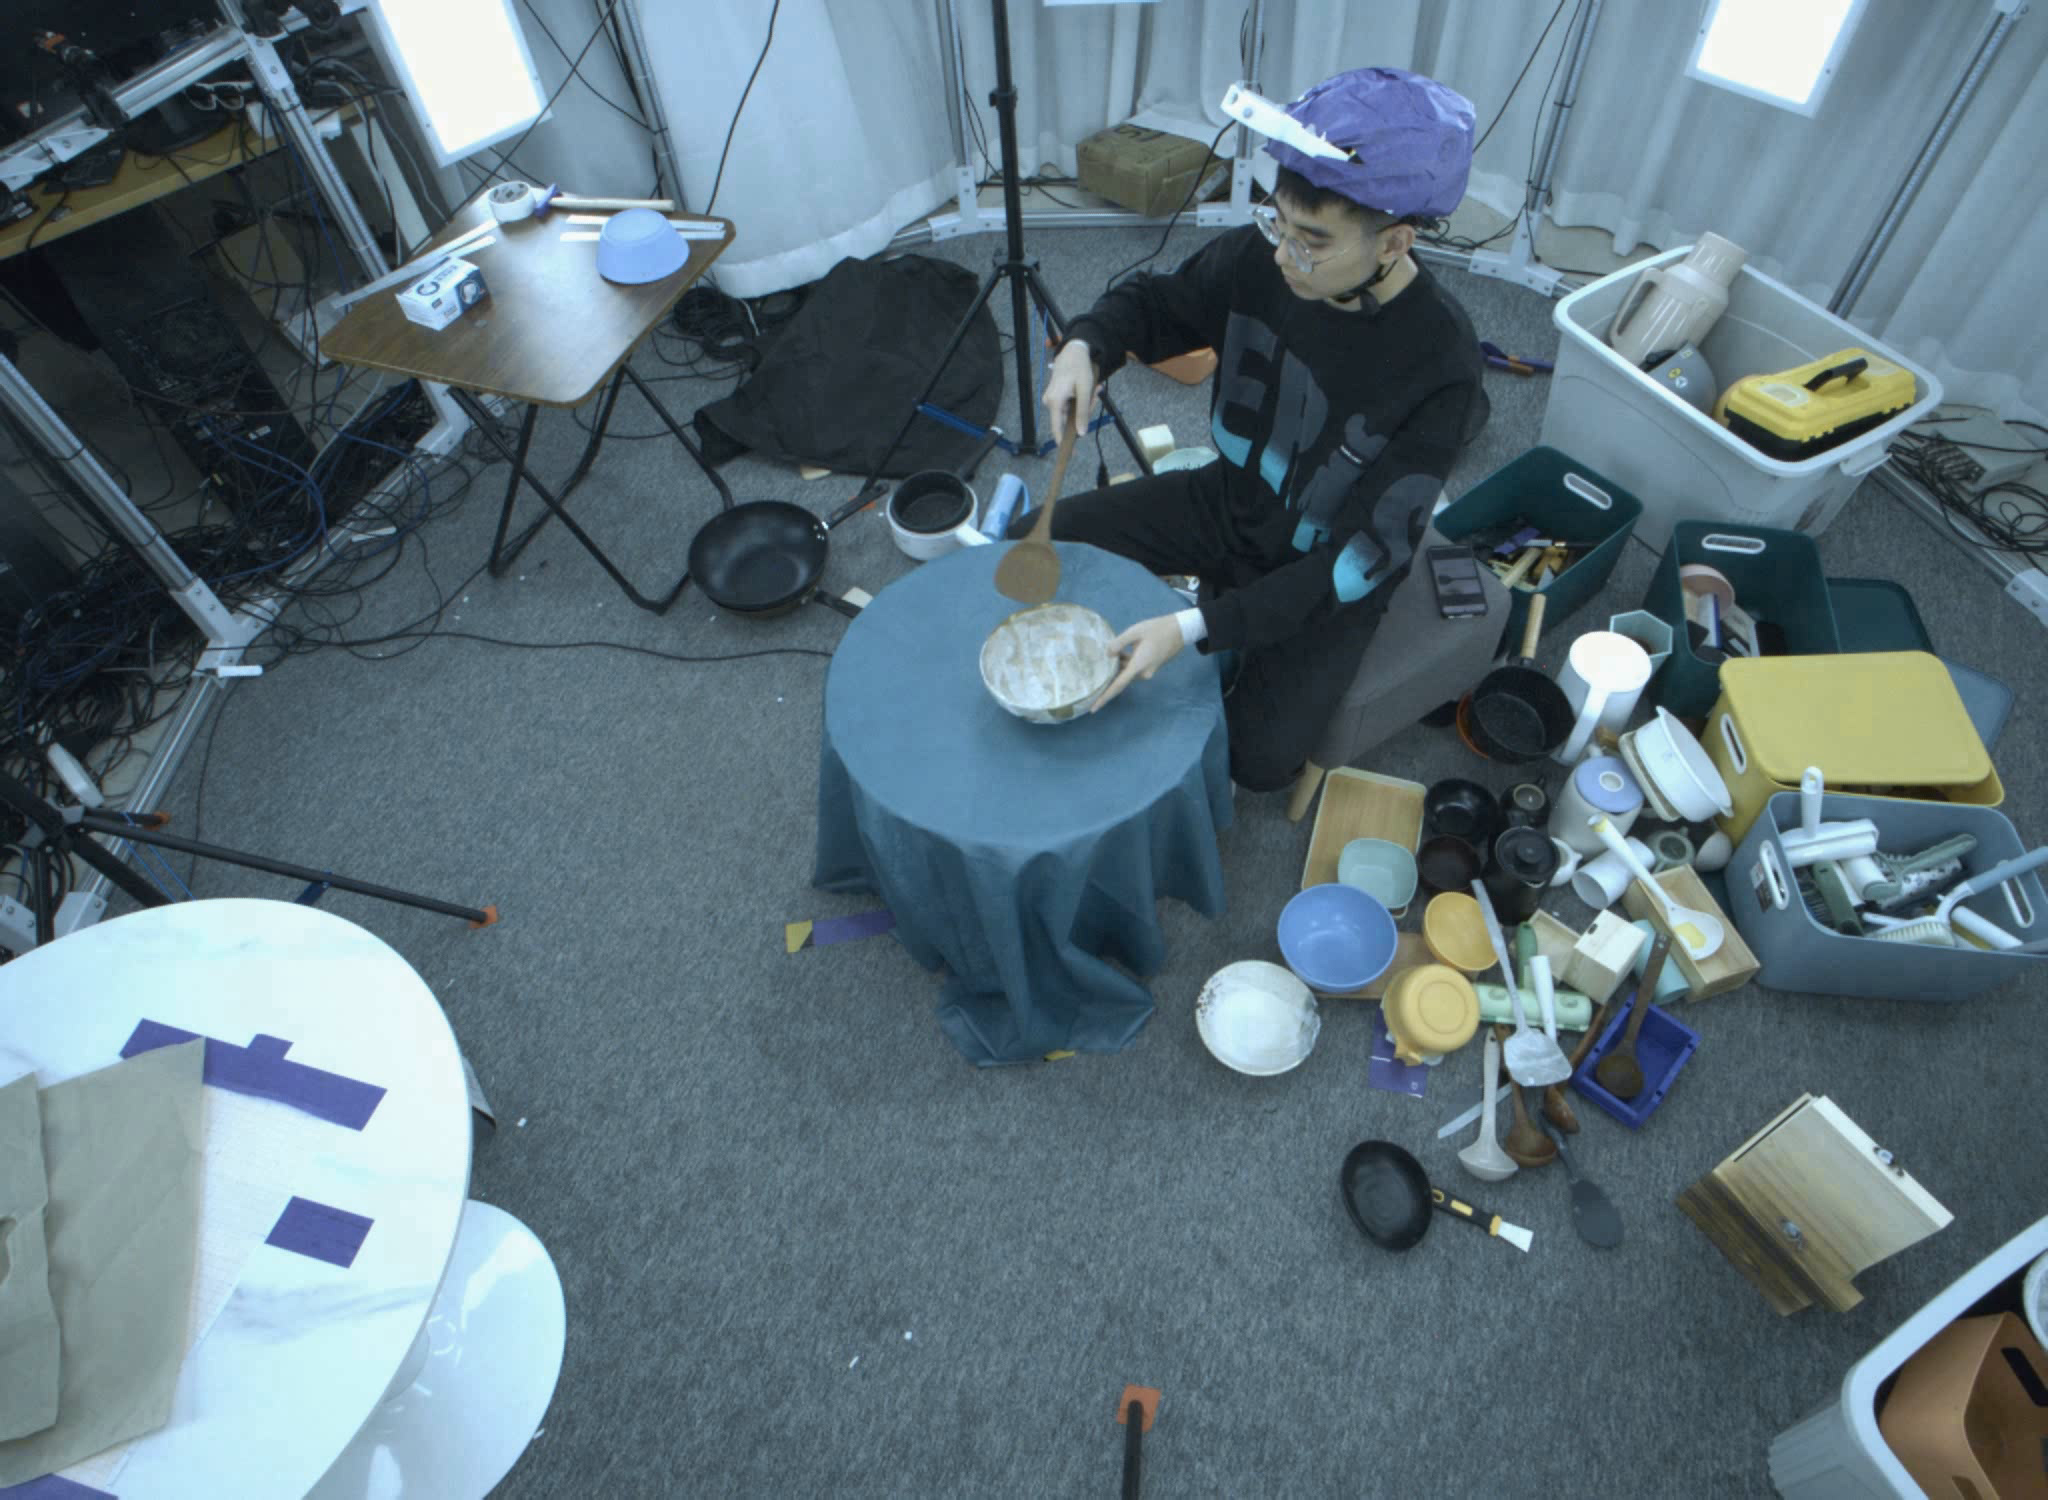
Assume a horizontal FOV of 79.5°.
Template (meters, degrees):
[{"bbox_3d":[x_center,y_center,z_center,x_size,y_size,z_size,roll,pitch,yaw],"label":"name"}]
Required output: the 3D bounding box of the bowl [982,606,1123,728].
[{"bbox_3d":[0.047,-0.107,1.812,0.214,0.096,0.212,-3,54,5],"label":"bowl"}]

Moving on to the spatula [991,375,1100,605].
[{"bbox_3d":[0.046,-0.392,1.785,0.095,0.016,0.385,16,82,10],"label":"spatula"}]
